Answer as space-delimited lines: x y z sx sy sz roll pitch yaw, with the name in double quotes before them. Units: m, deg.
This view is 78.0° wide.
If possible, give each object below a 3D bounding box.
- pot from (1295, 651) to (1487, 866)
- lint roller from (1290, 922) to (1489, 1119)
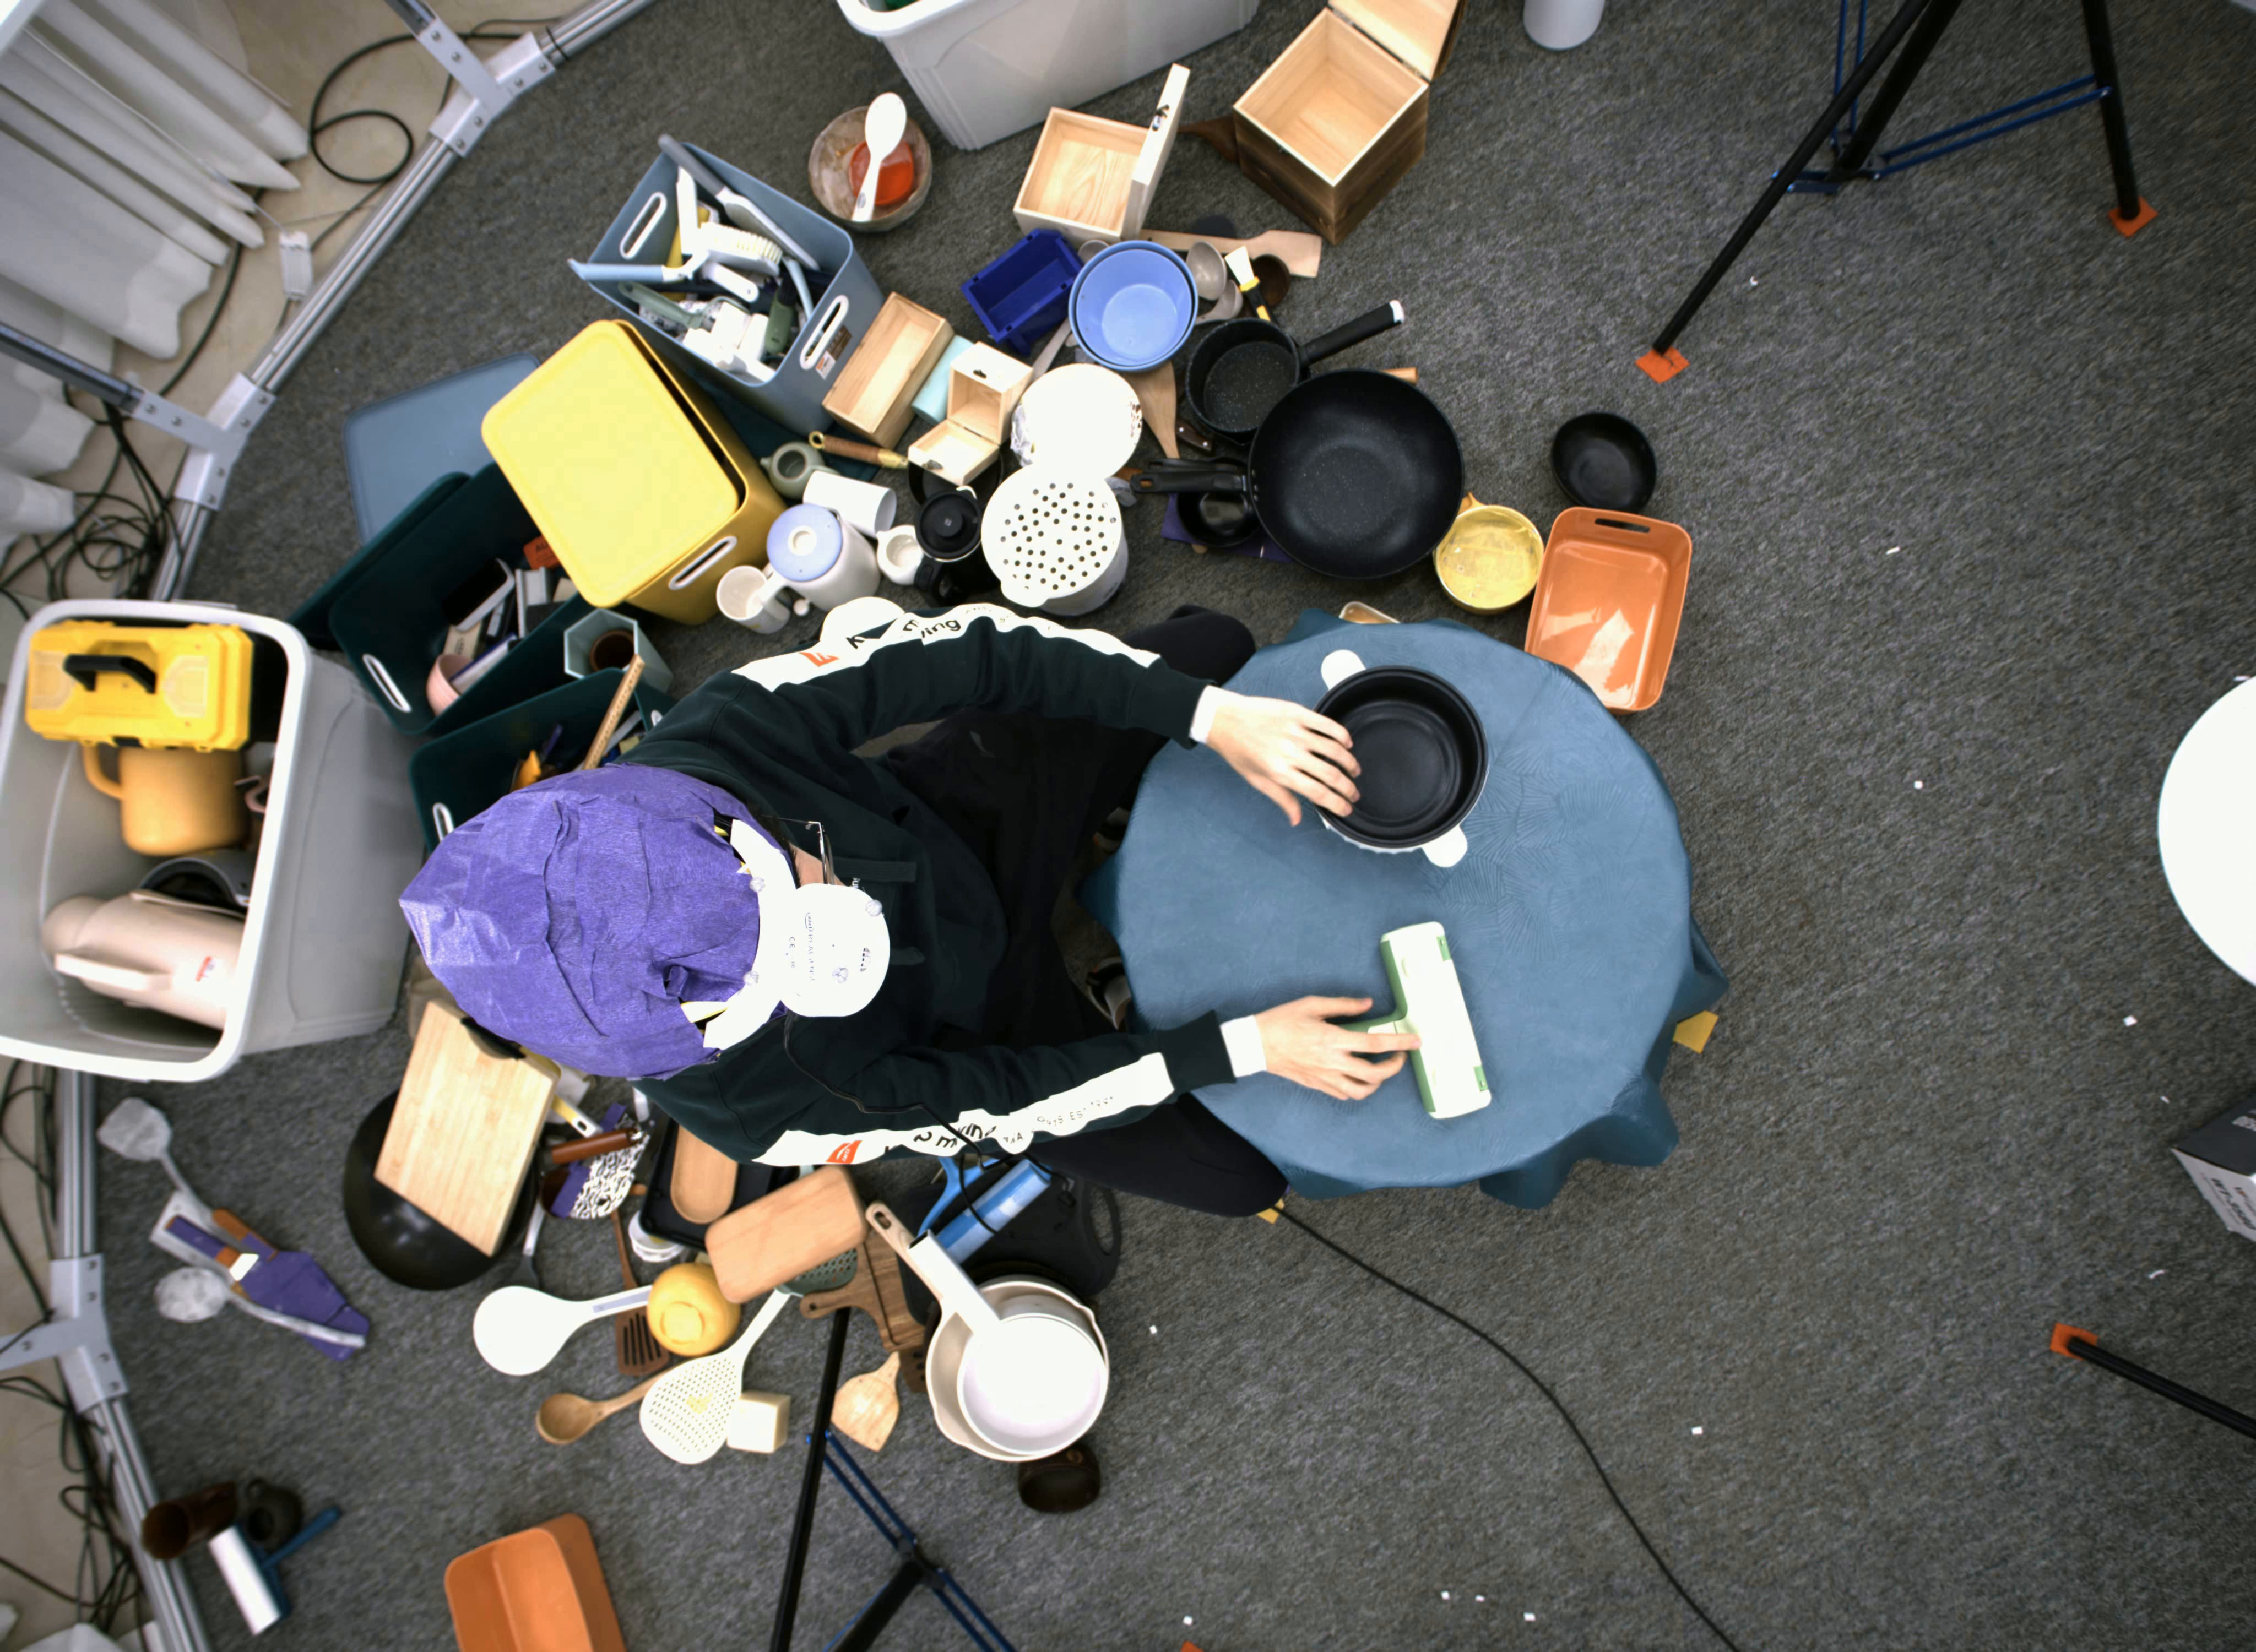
"pot" 0.270 -0.066 1.393 0.192 0.142 0.239 -31 83 10
"lint roller" 0.256 0.211 1.413 0.184 0.082 0.197 -15 85 4
